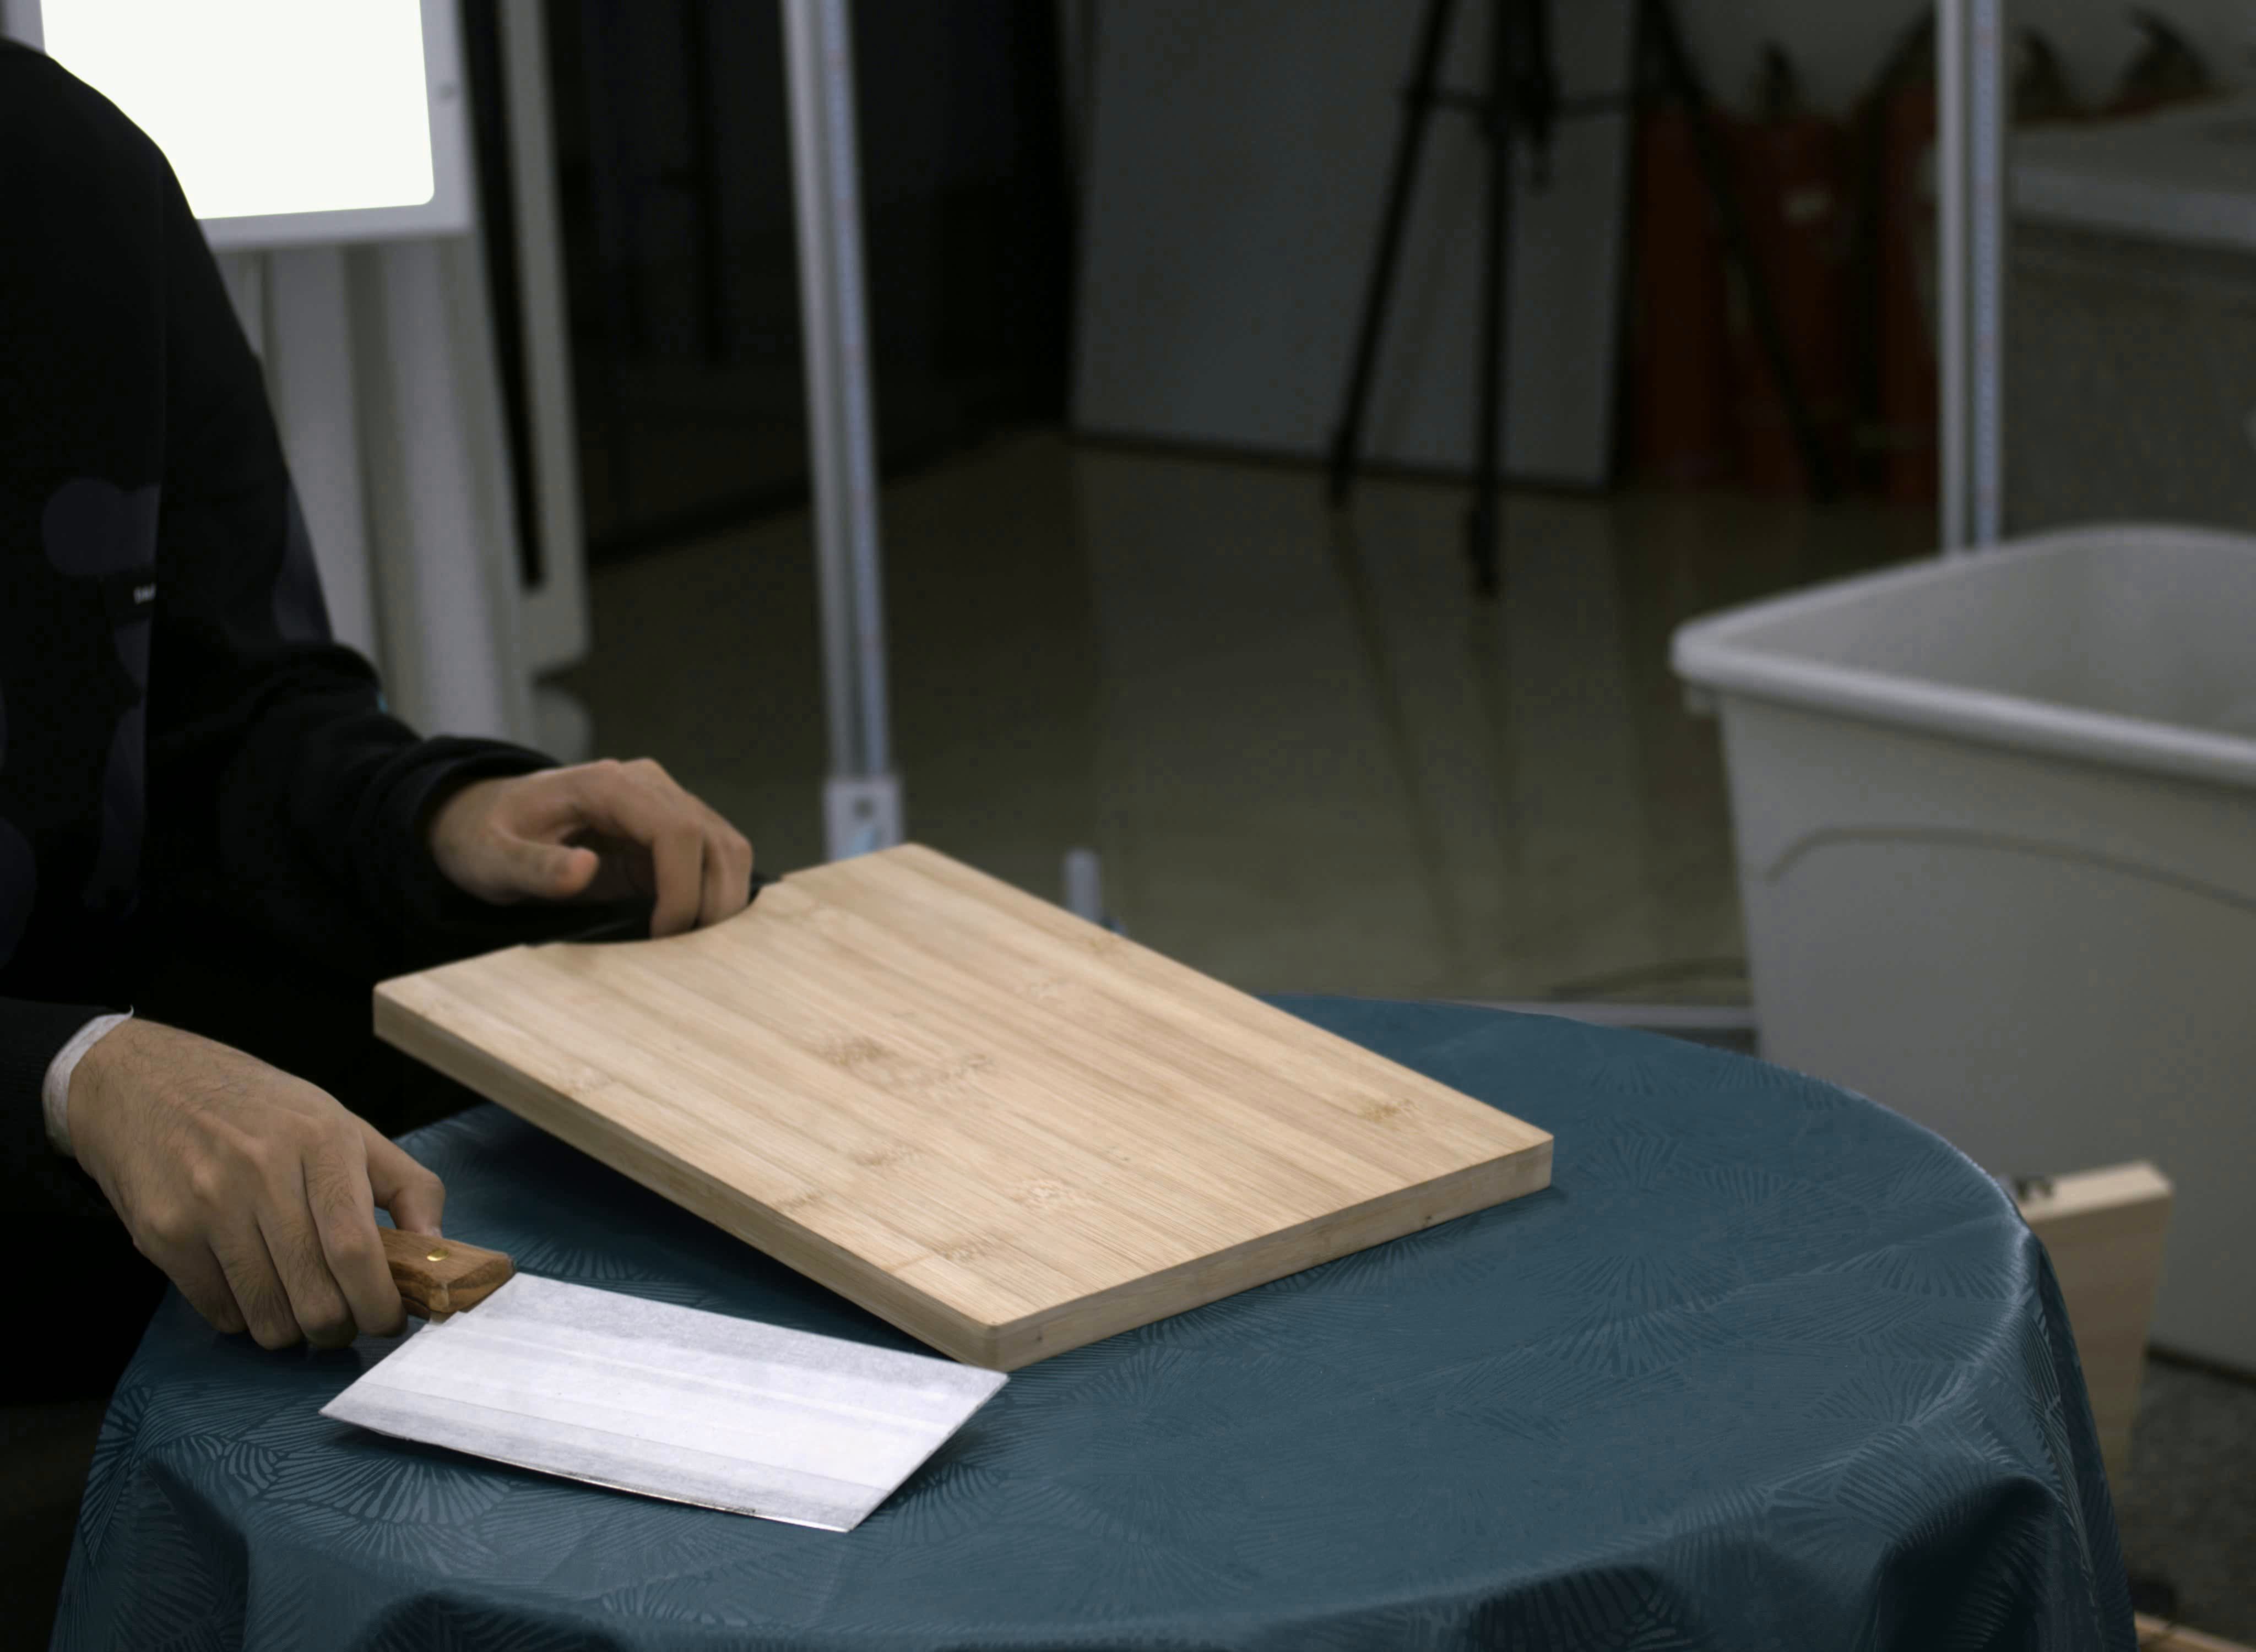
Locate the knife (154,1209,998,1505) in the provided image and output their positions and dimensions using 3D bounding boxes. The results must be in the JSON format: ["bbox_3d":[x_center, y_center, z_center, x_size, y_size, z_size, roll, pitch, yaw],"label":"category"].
[{"bbox_3d":[-0.182,0.160,1.606,0.307,0.021,0.092,7,30,32],"label":"knife"}]

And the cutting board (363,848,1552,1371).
[{"bbox_3d":[-0.062,0.087,1.800,0.245,0.024,0.352,-15,25,-38],"label":"cutting board"}]
